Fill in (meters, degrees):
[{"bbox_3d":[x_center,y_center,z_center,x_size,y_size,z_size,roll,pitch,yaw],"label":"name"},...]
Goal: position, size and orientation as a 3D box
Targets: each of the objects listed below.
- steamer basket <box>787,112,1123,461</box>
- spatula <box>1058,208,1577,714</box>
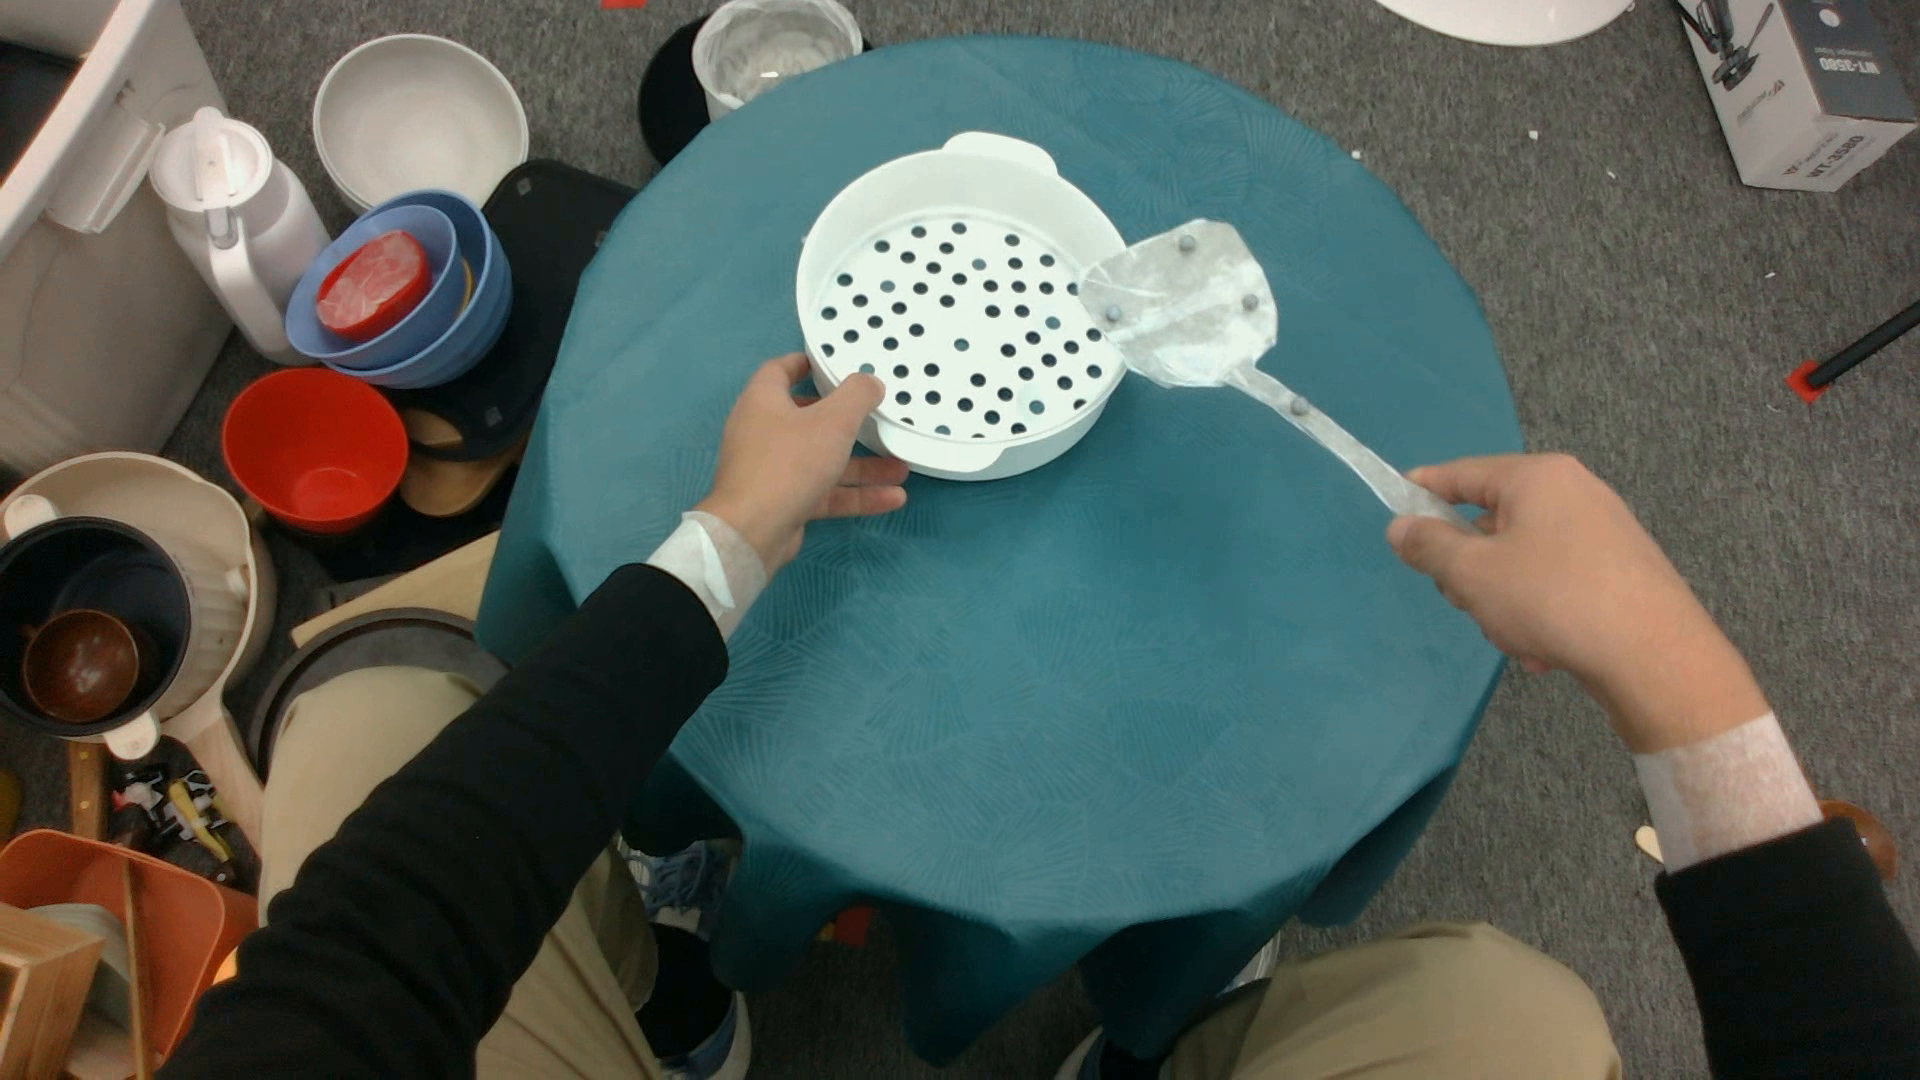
[{"bbox_3d":[0.000,-0.144,0.821,0.202,0.069,0.231,12,68,-1],"label":"steamer basket"},{"bbox_3d":[0.163,-0.056,0.640,0.099,0.044,0.365,-22,42,-12],"label":"spatula"}]
